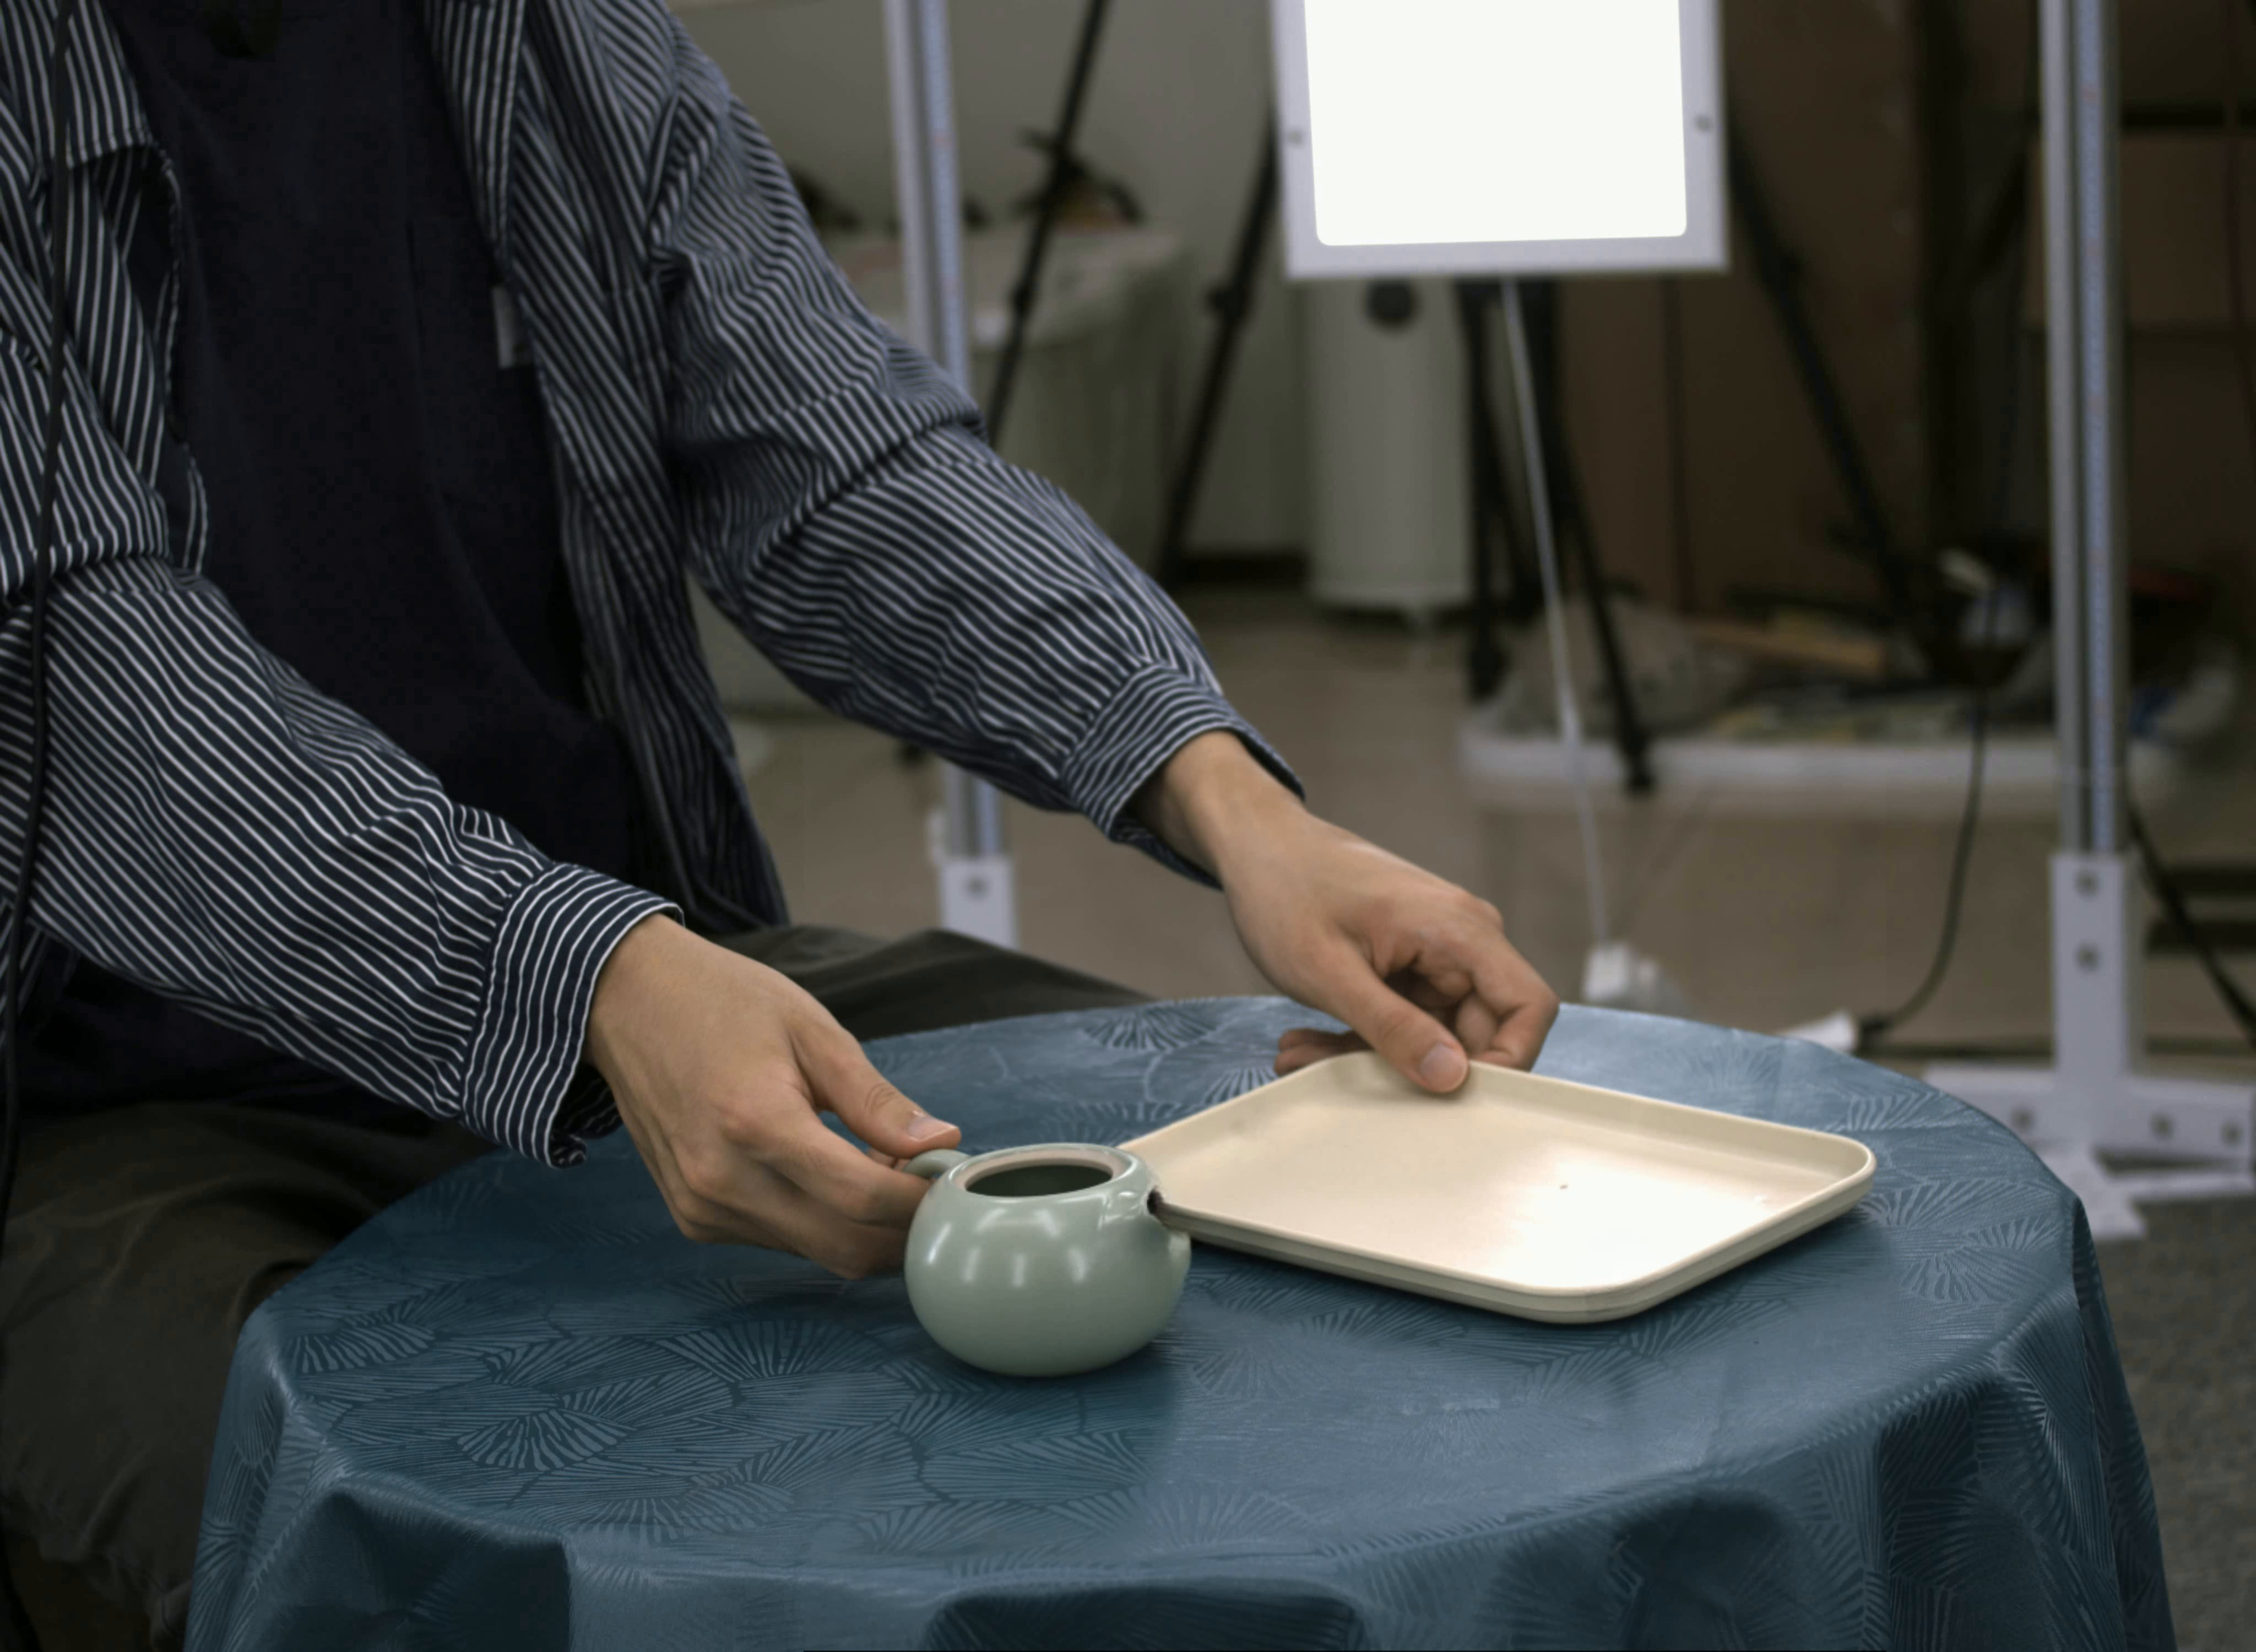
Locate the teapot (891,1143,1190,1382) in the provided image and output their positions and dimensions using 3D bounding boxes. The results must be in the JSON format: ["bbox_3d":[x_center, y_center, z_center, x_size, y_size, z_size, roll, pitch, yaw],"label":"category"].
[{"bbox_3d":[-0.032,0.136,1.741,0.089,0.061,0.131,-18,18,-37],"label":"teapot"}]

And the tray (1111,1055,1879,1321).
[{"bbox_3d":[0.118,0.120,1.832,0.245,0.017,0.167,9,20,44],"label":"tray"}]
